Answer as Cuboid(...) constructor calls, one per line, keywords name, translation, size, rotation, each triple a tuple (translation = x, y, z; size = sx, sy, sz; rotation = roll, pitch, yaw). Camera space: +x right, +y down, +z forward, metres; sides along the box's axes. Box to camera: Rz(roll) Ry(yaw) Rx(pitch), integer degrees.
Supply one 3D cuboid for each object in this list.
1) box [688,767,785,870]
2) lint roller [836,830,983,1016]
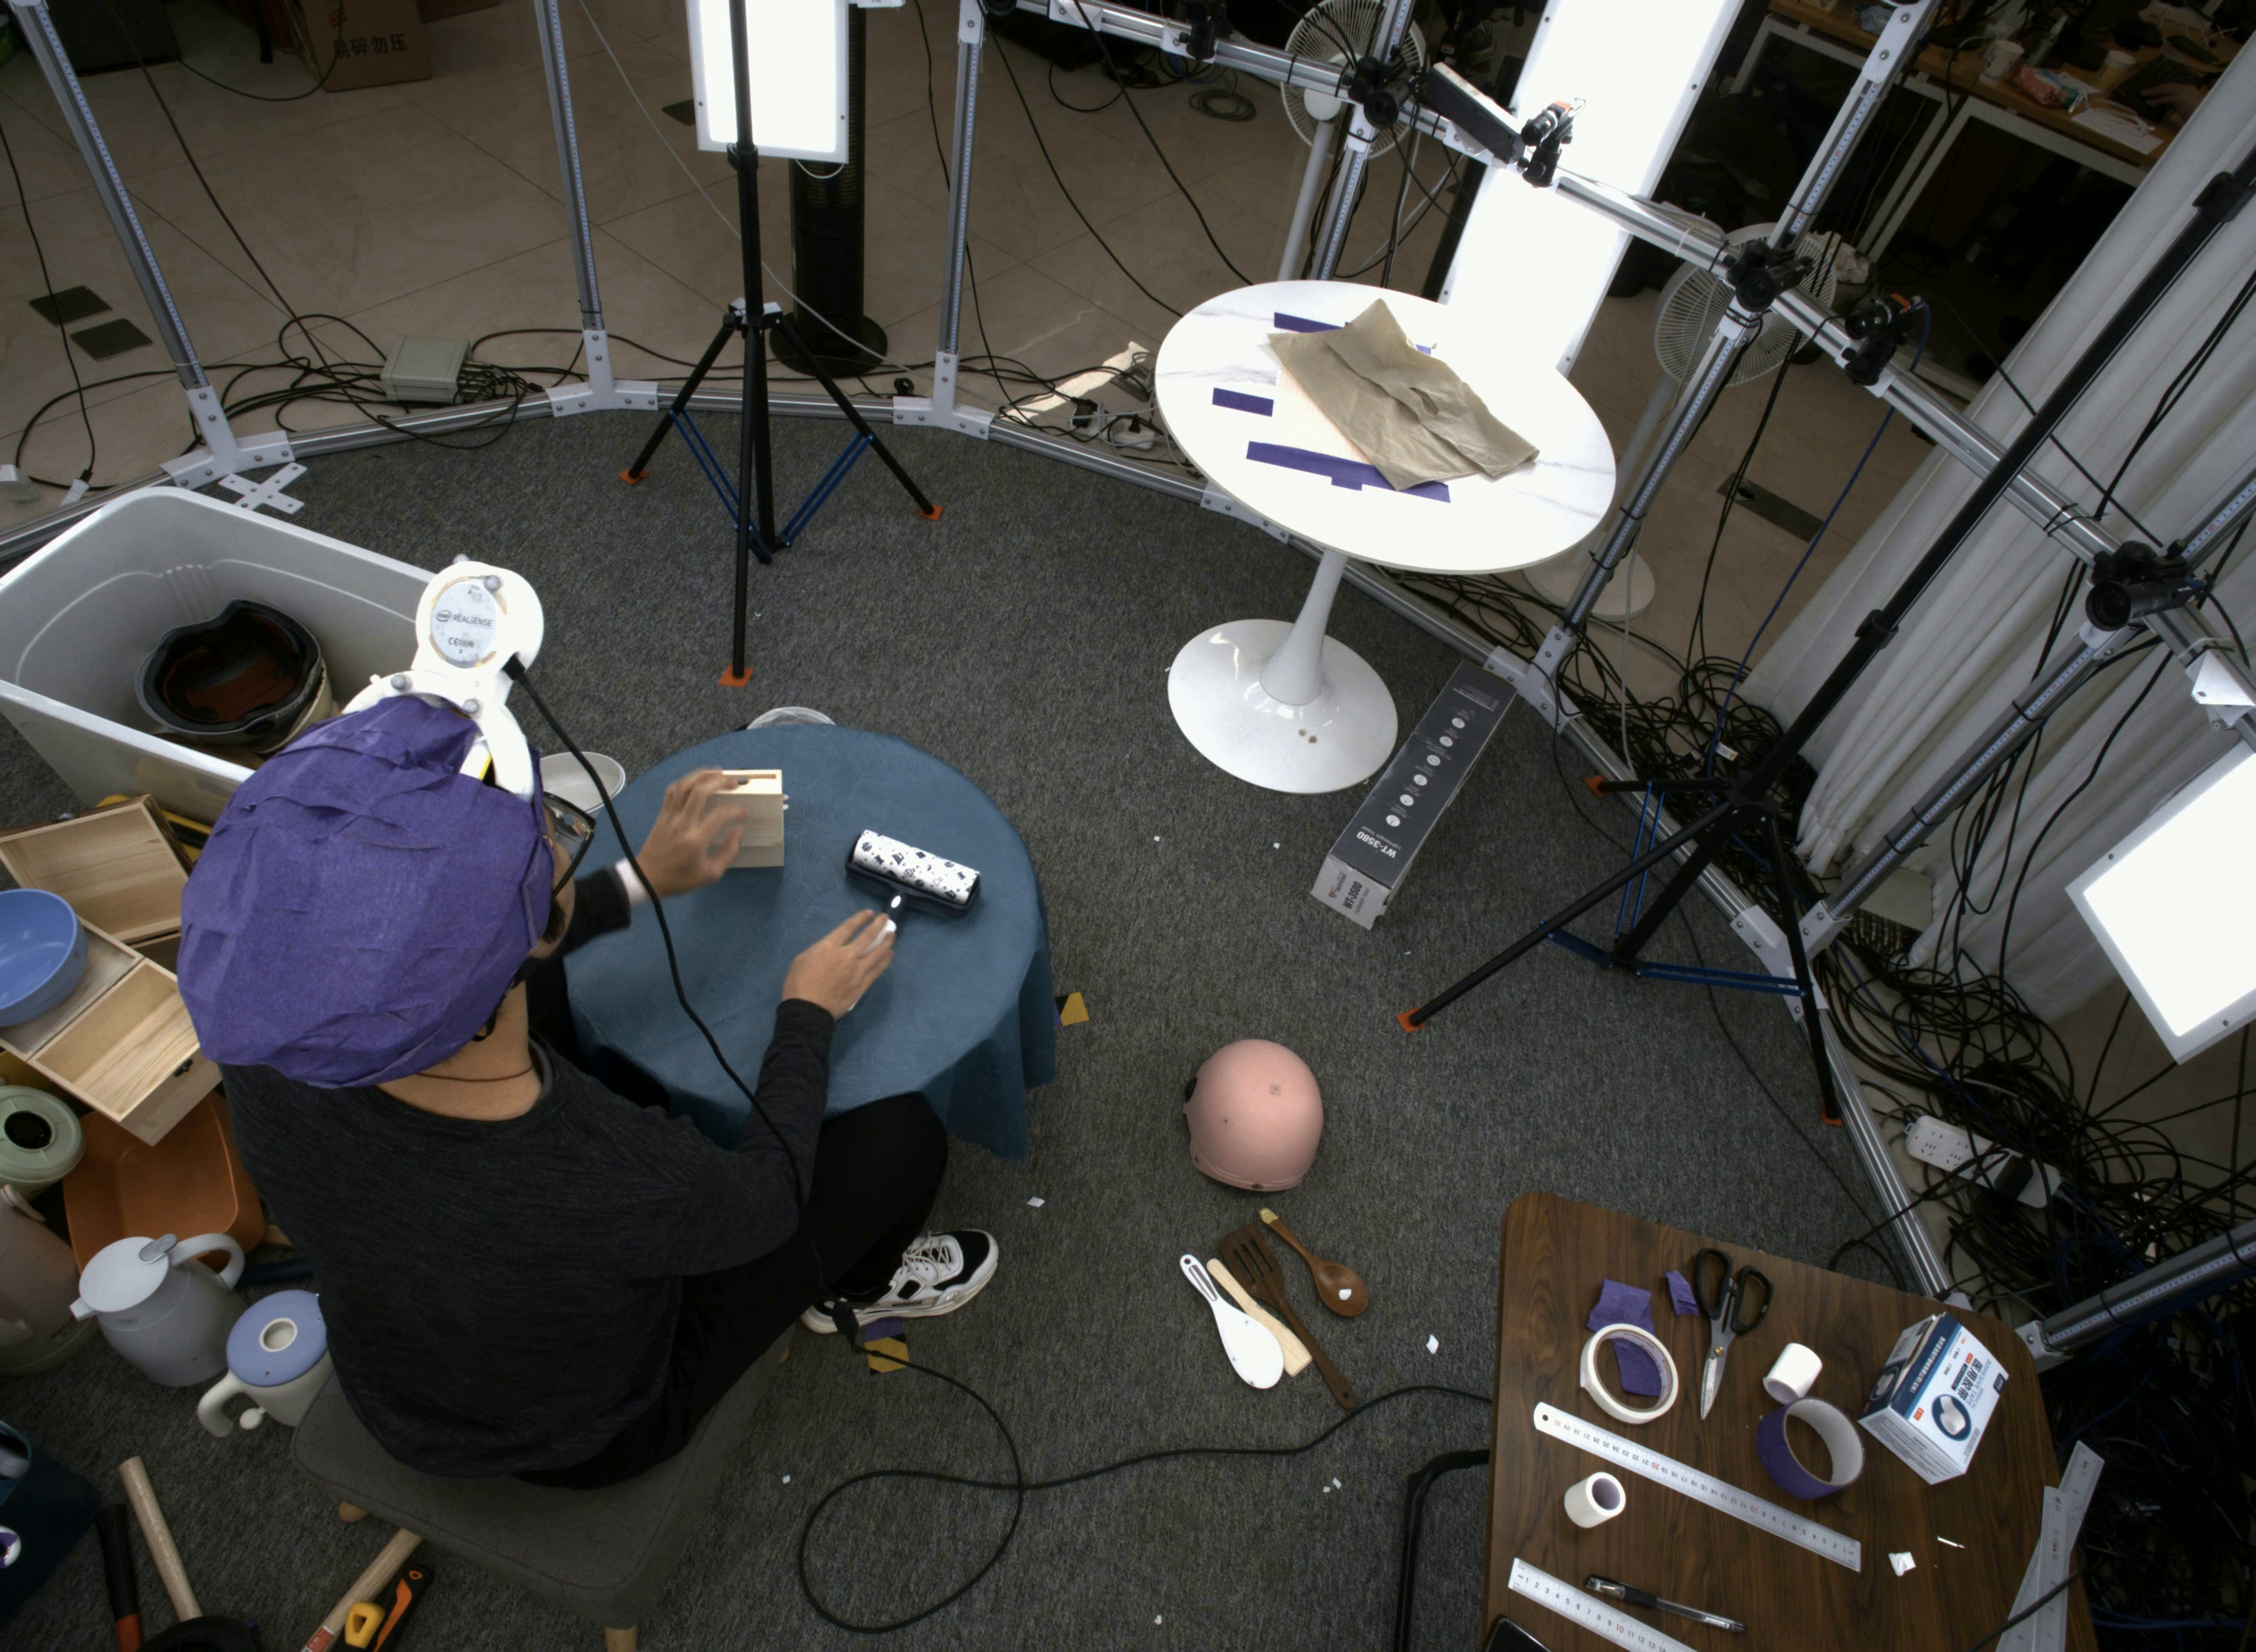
Cuboid(name="box", translation=(-0.485, -0.036, 1.611), size=(0.103, 0.188, 0.131), rotation=(-3, 54, -14))
Cuboid(name="lint roller", translation=(-0.304, 0.126, 1.629), size=(0.175, 0.051, 0.244), rotation=(21, 52, 1))
